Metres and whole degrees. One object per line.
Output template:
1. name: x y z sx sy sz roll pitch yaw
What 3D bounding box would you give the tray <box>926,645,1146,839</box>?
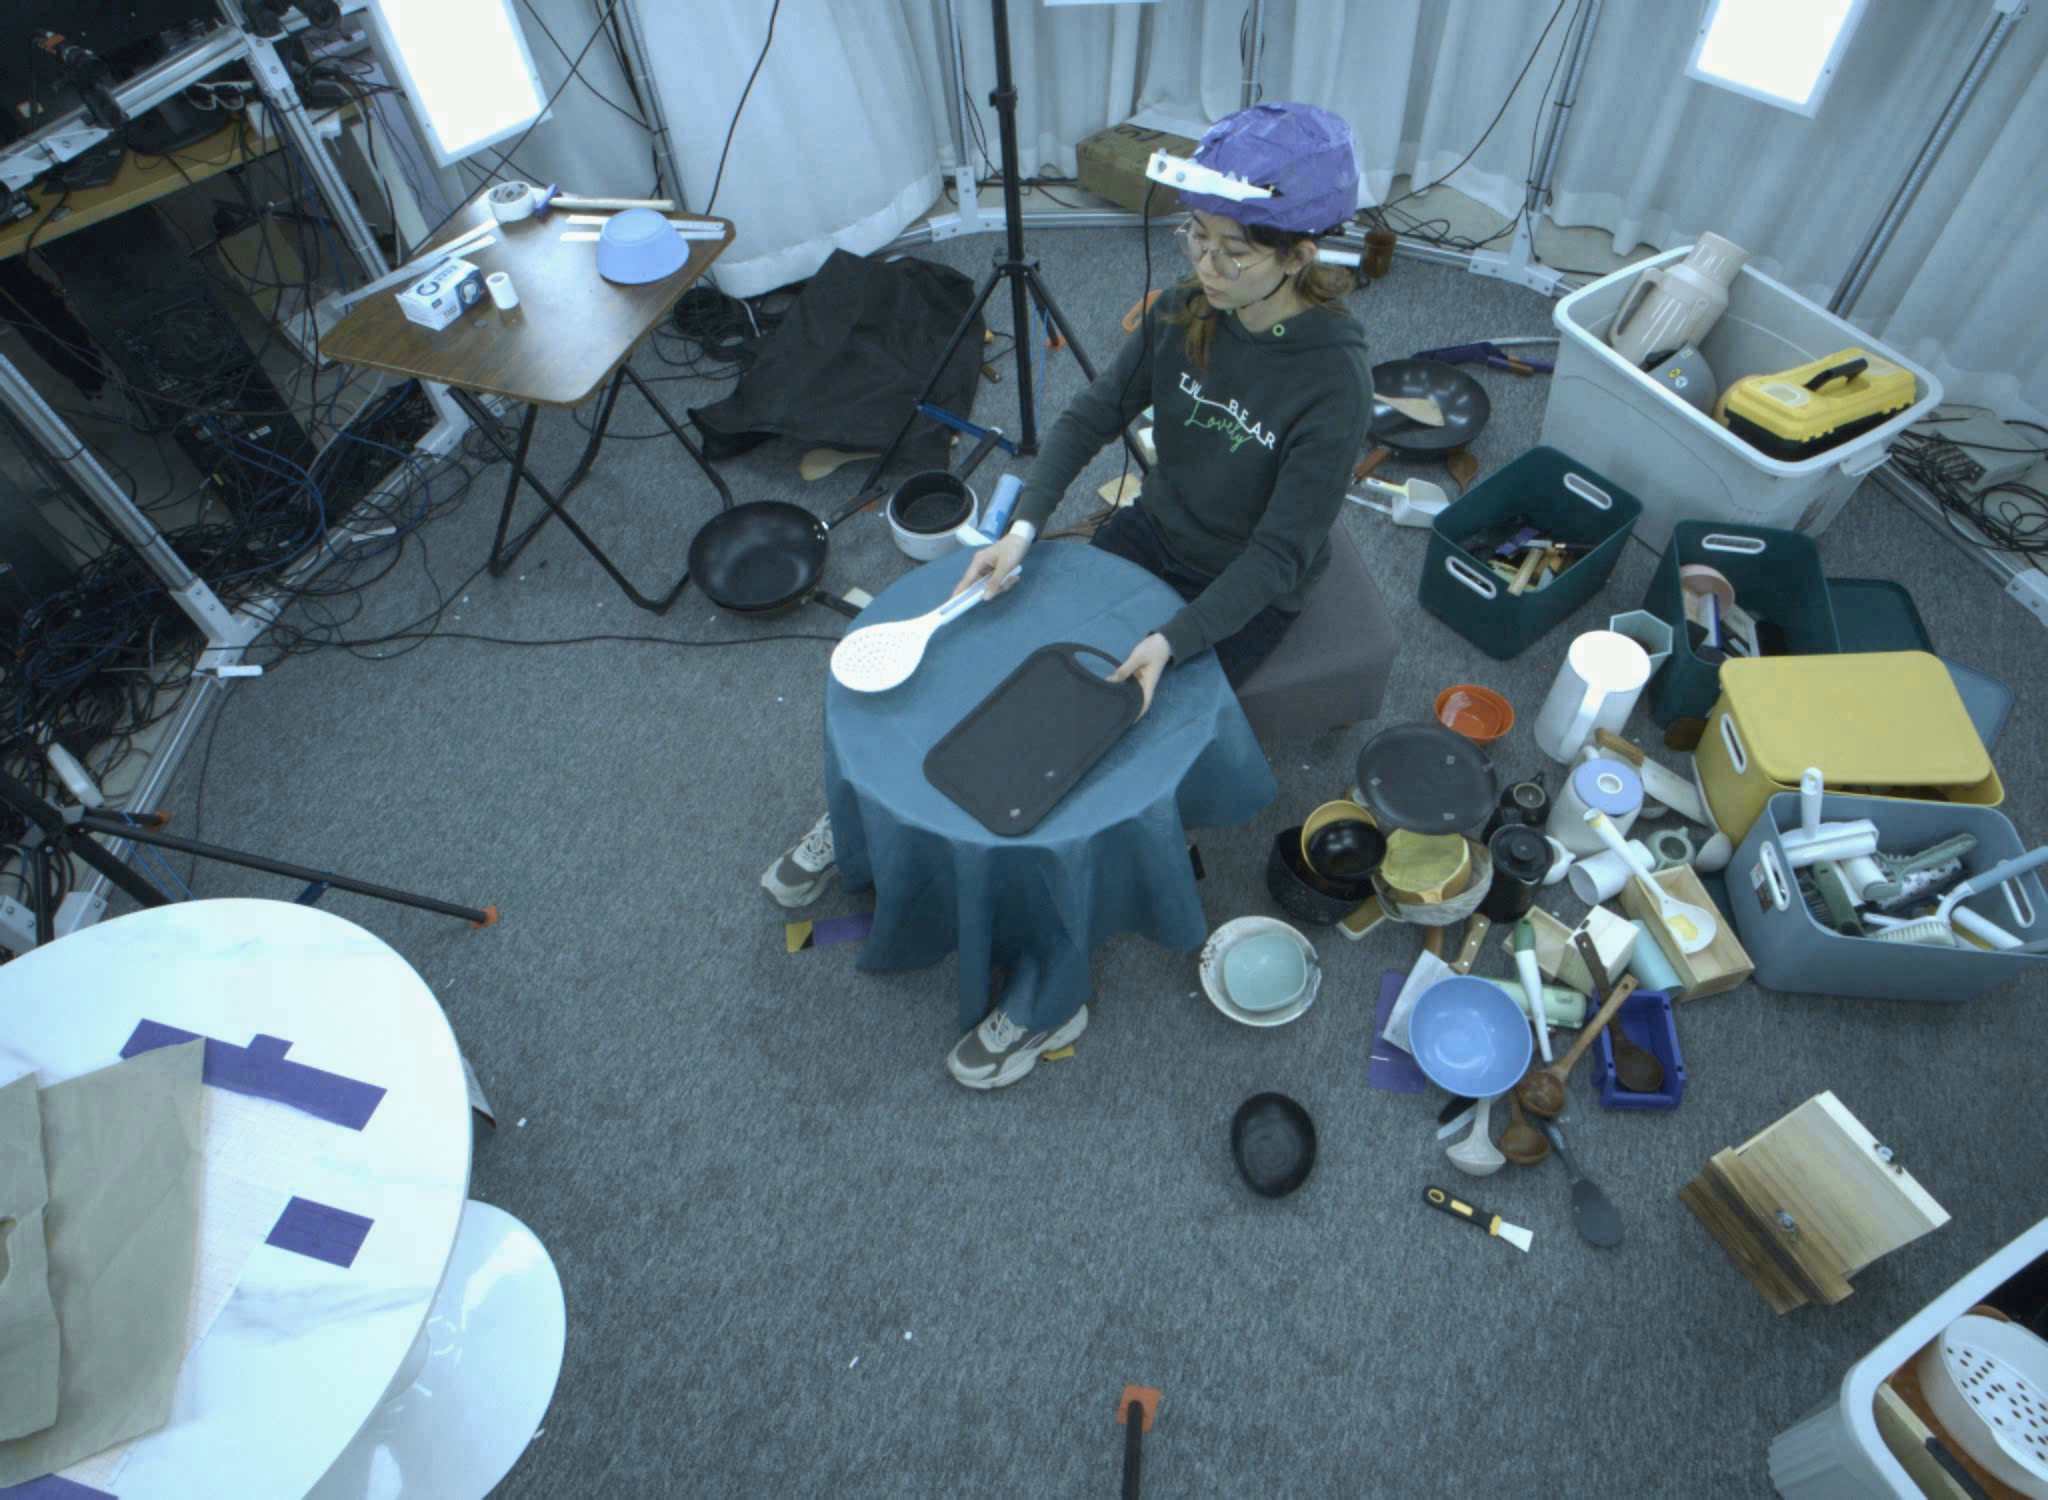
1. tray: 0.022 -0.025 1.787 0.207 0.010 0.327 36 69 26

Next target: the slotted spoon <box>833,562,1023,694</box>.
1. slotted spoon: -0.141 -0.195 1.892 0.352 0.046 0.133 -40 59 -18
